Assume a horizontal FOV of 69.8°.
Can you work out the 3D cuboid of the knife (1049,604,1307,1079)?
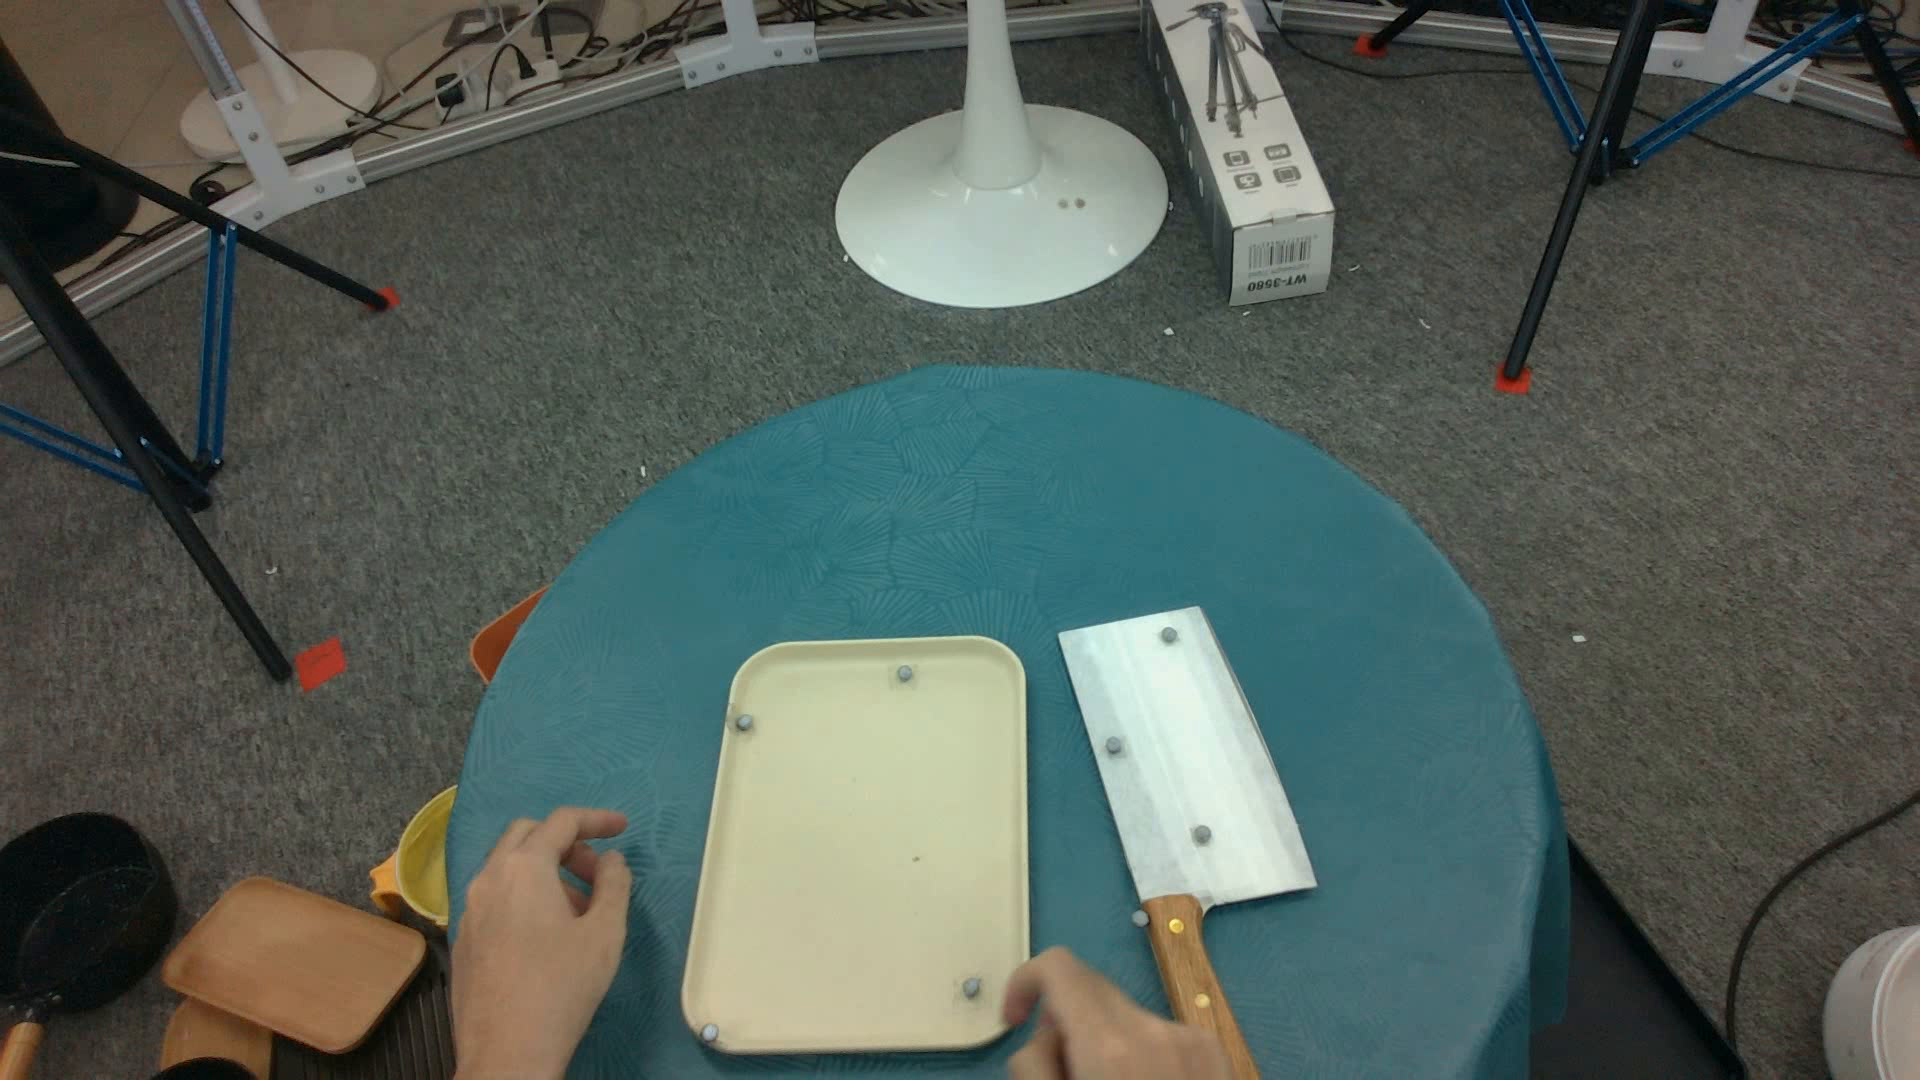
[{"bbox_3d":[0.124,0.150,0.713,0.093,0.021,0.307,-10,47,-6],"label":"knife"}]

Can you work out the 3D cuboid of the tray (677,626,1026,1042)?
[{"bbox_3d":[-0.052,0.147,0.728,0.171,0.017,0.241,-1,49,3],"label":"tray"}]
